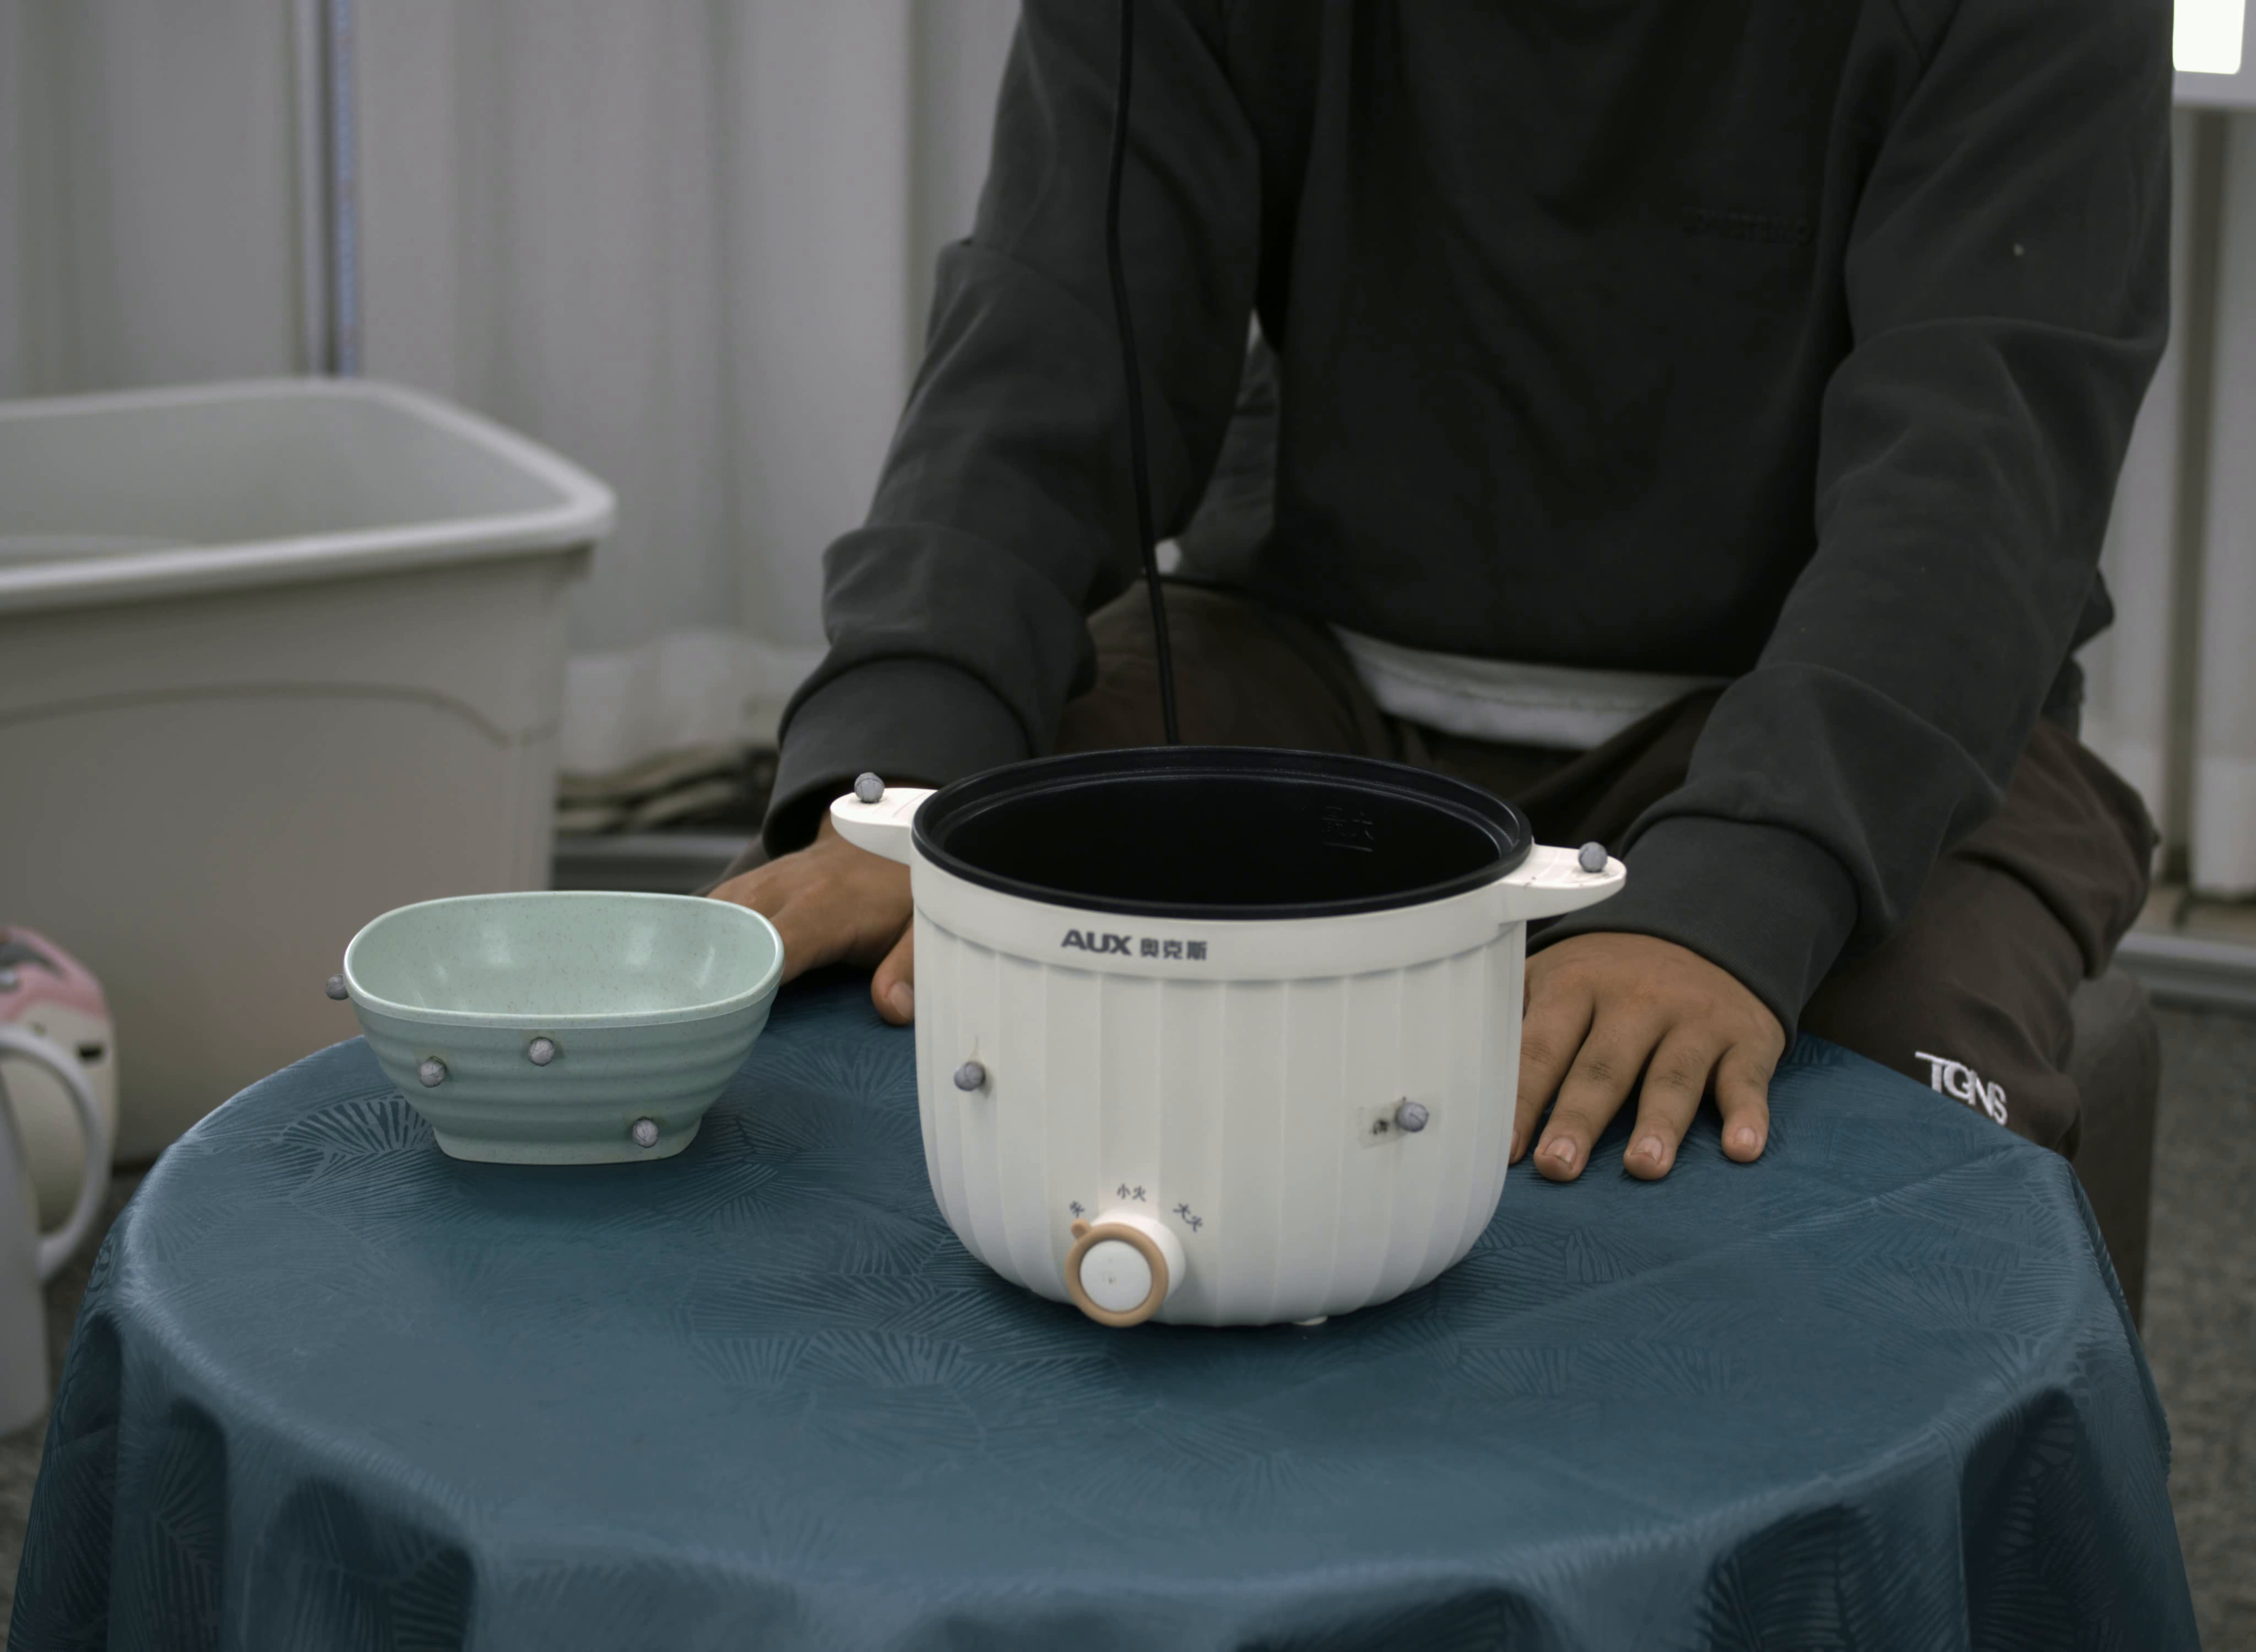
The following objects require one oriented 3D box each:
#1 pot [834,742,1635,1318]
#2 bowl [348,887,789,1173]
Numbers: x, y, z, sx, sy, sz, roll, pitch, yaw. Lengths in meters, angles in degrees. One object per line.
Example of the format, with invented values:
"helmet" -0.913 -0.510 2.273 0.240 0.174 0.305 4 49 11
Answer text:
"pot" 0.029 0.062 1.544 0.238 0.143 0.190 3 12 15
"bowl" -0.177 0.068 1.674 0.151 0.059 0.150 1 17 0
